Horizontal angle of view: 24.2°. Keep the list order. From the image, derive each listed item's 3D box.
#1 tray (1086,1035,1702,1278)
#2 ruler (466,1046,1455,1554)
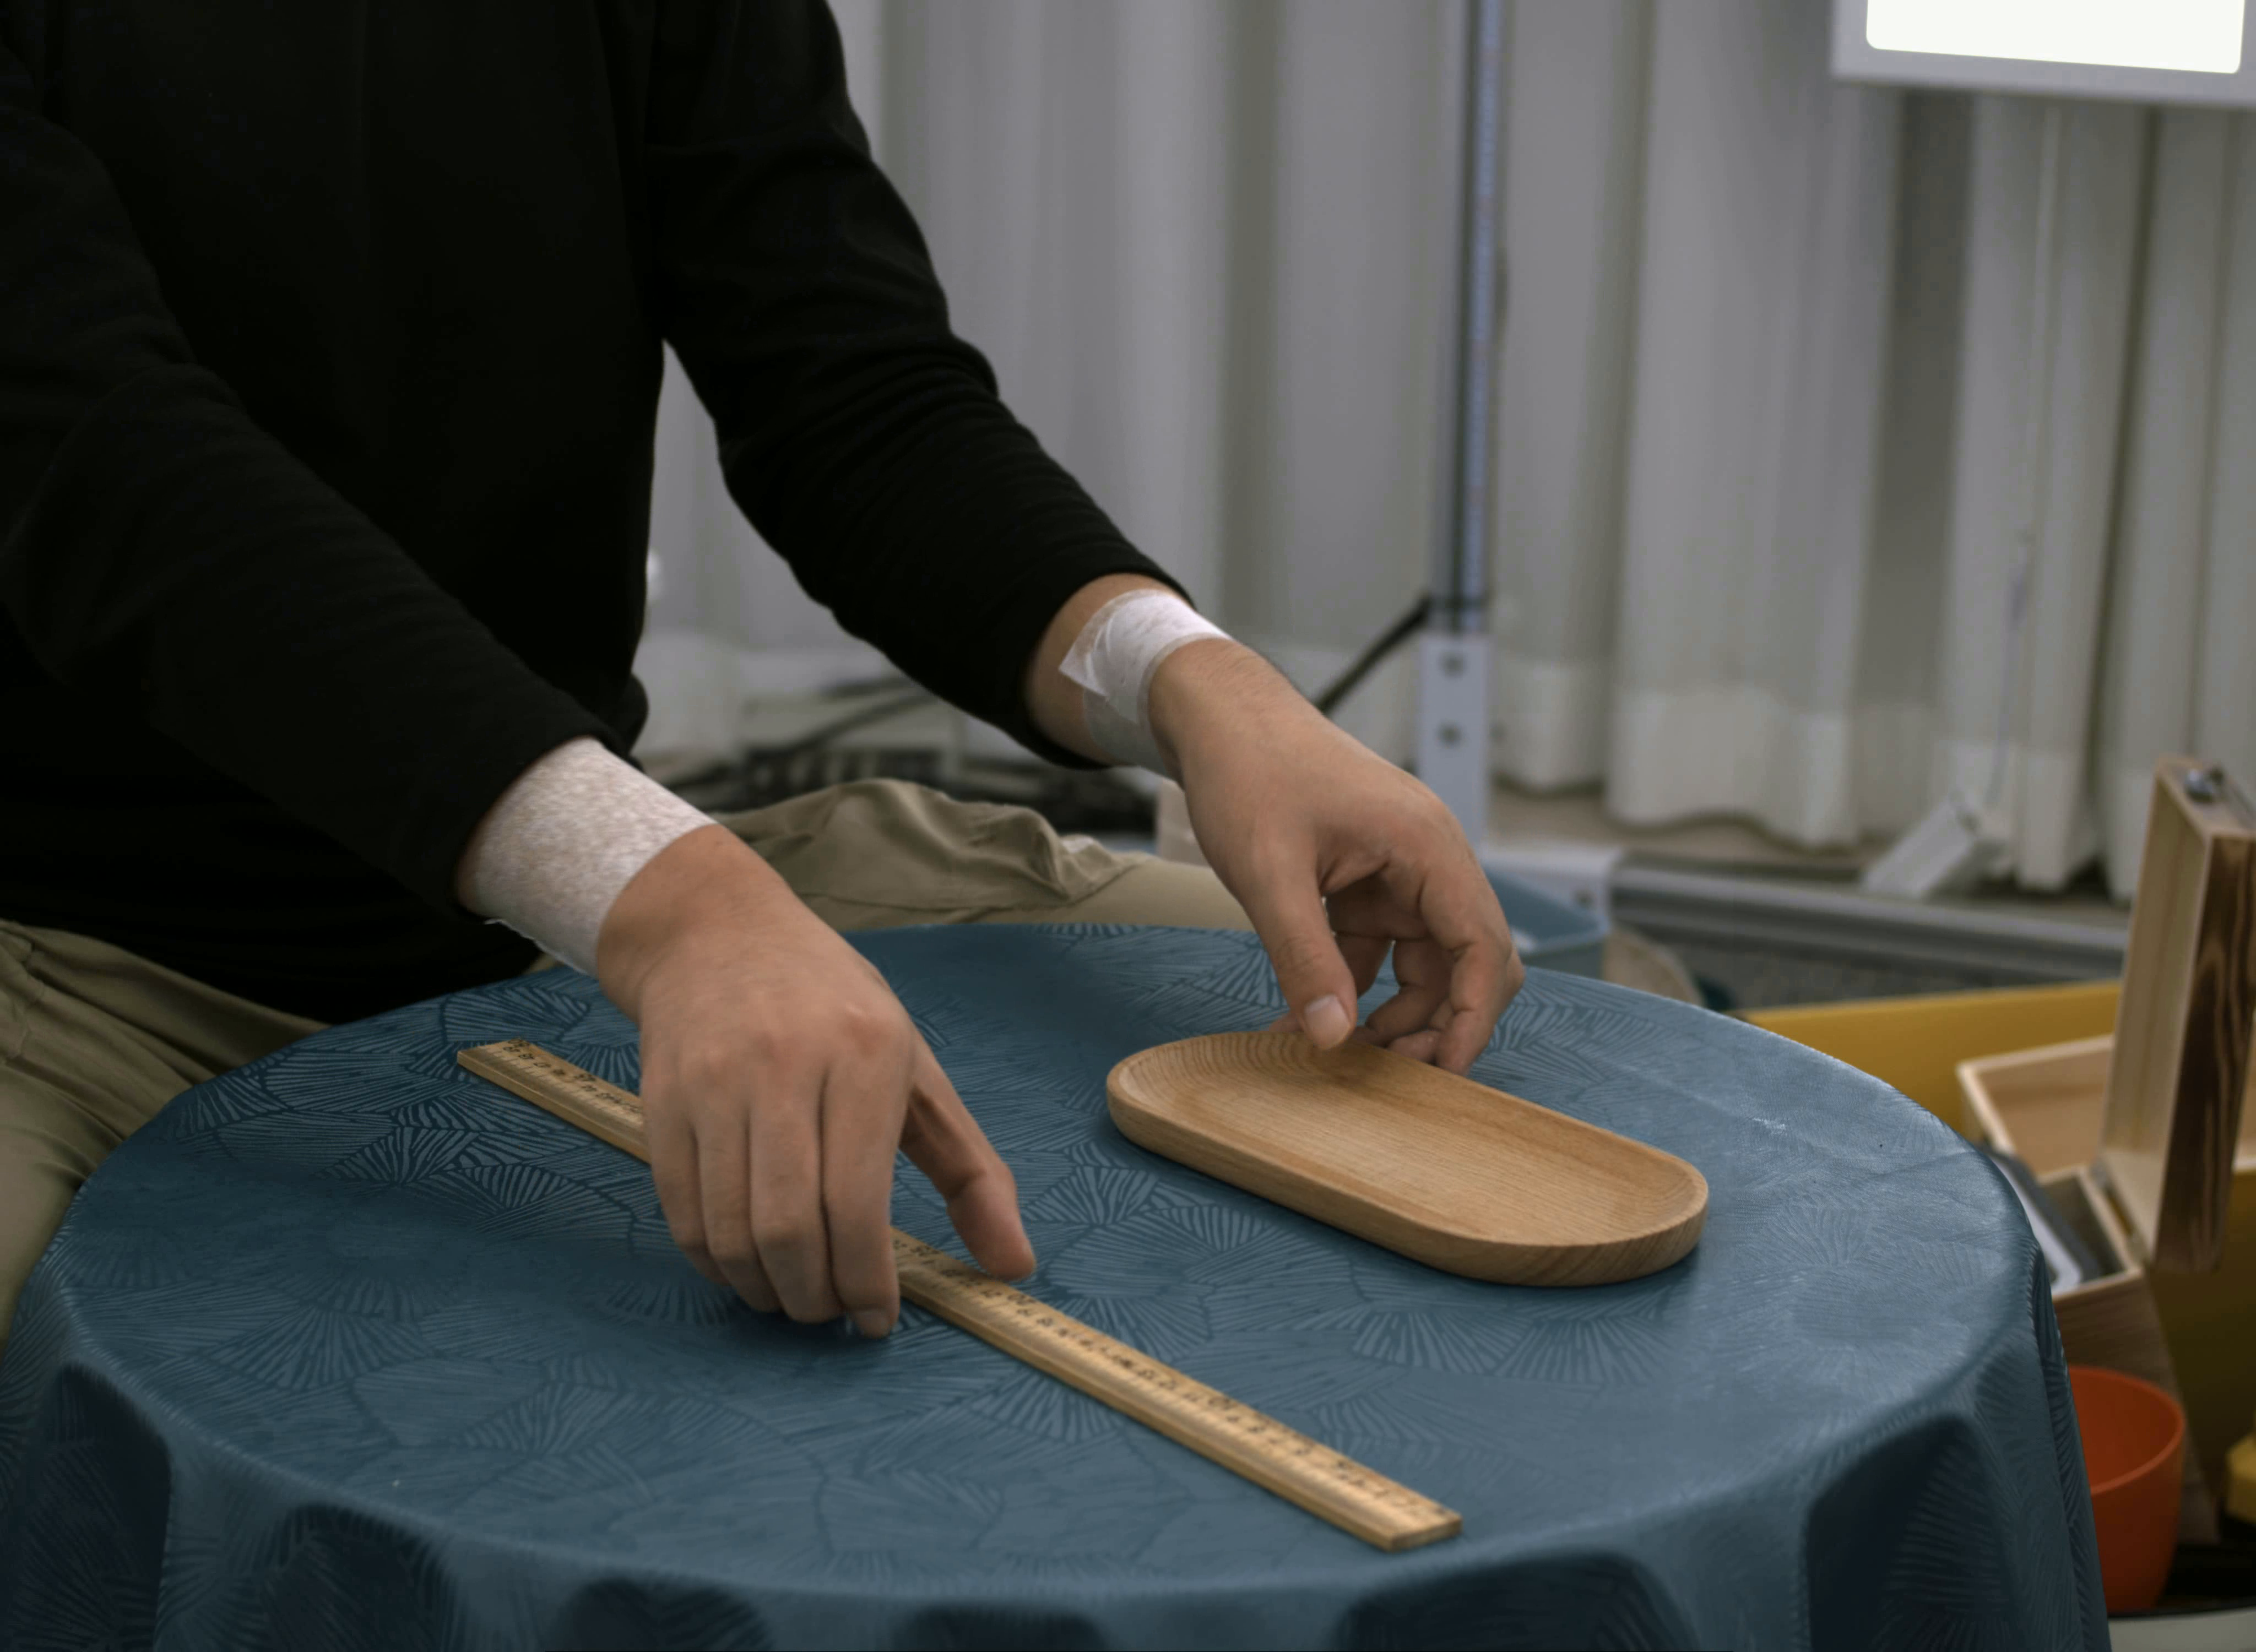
[{"bbox_3d":[0.080,0.101,1.633,0.102,0.020,0.228,-11,17,-40],"label":"tray"},{"bbox_3d":[-0.066,0.129,1.549,0.027,0.006,0.494,-7,17,-35],"label":"ruler"}]
